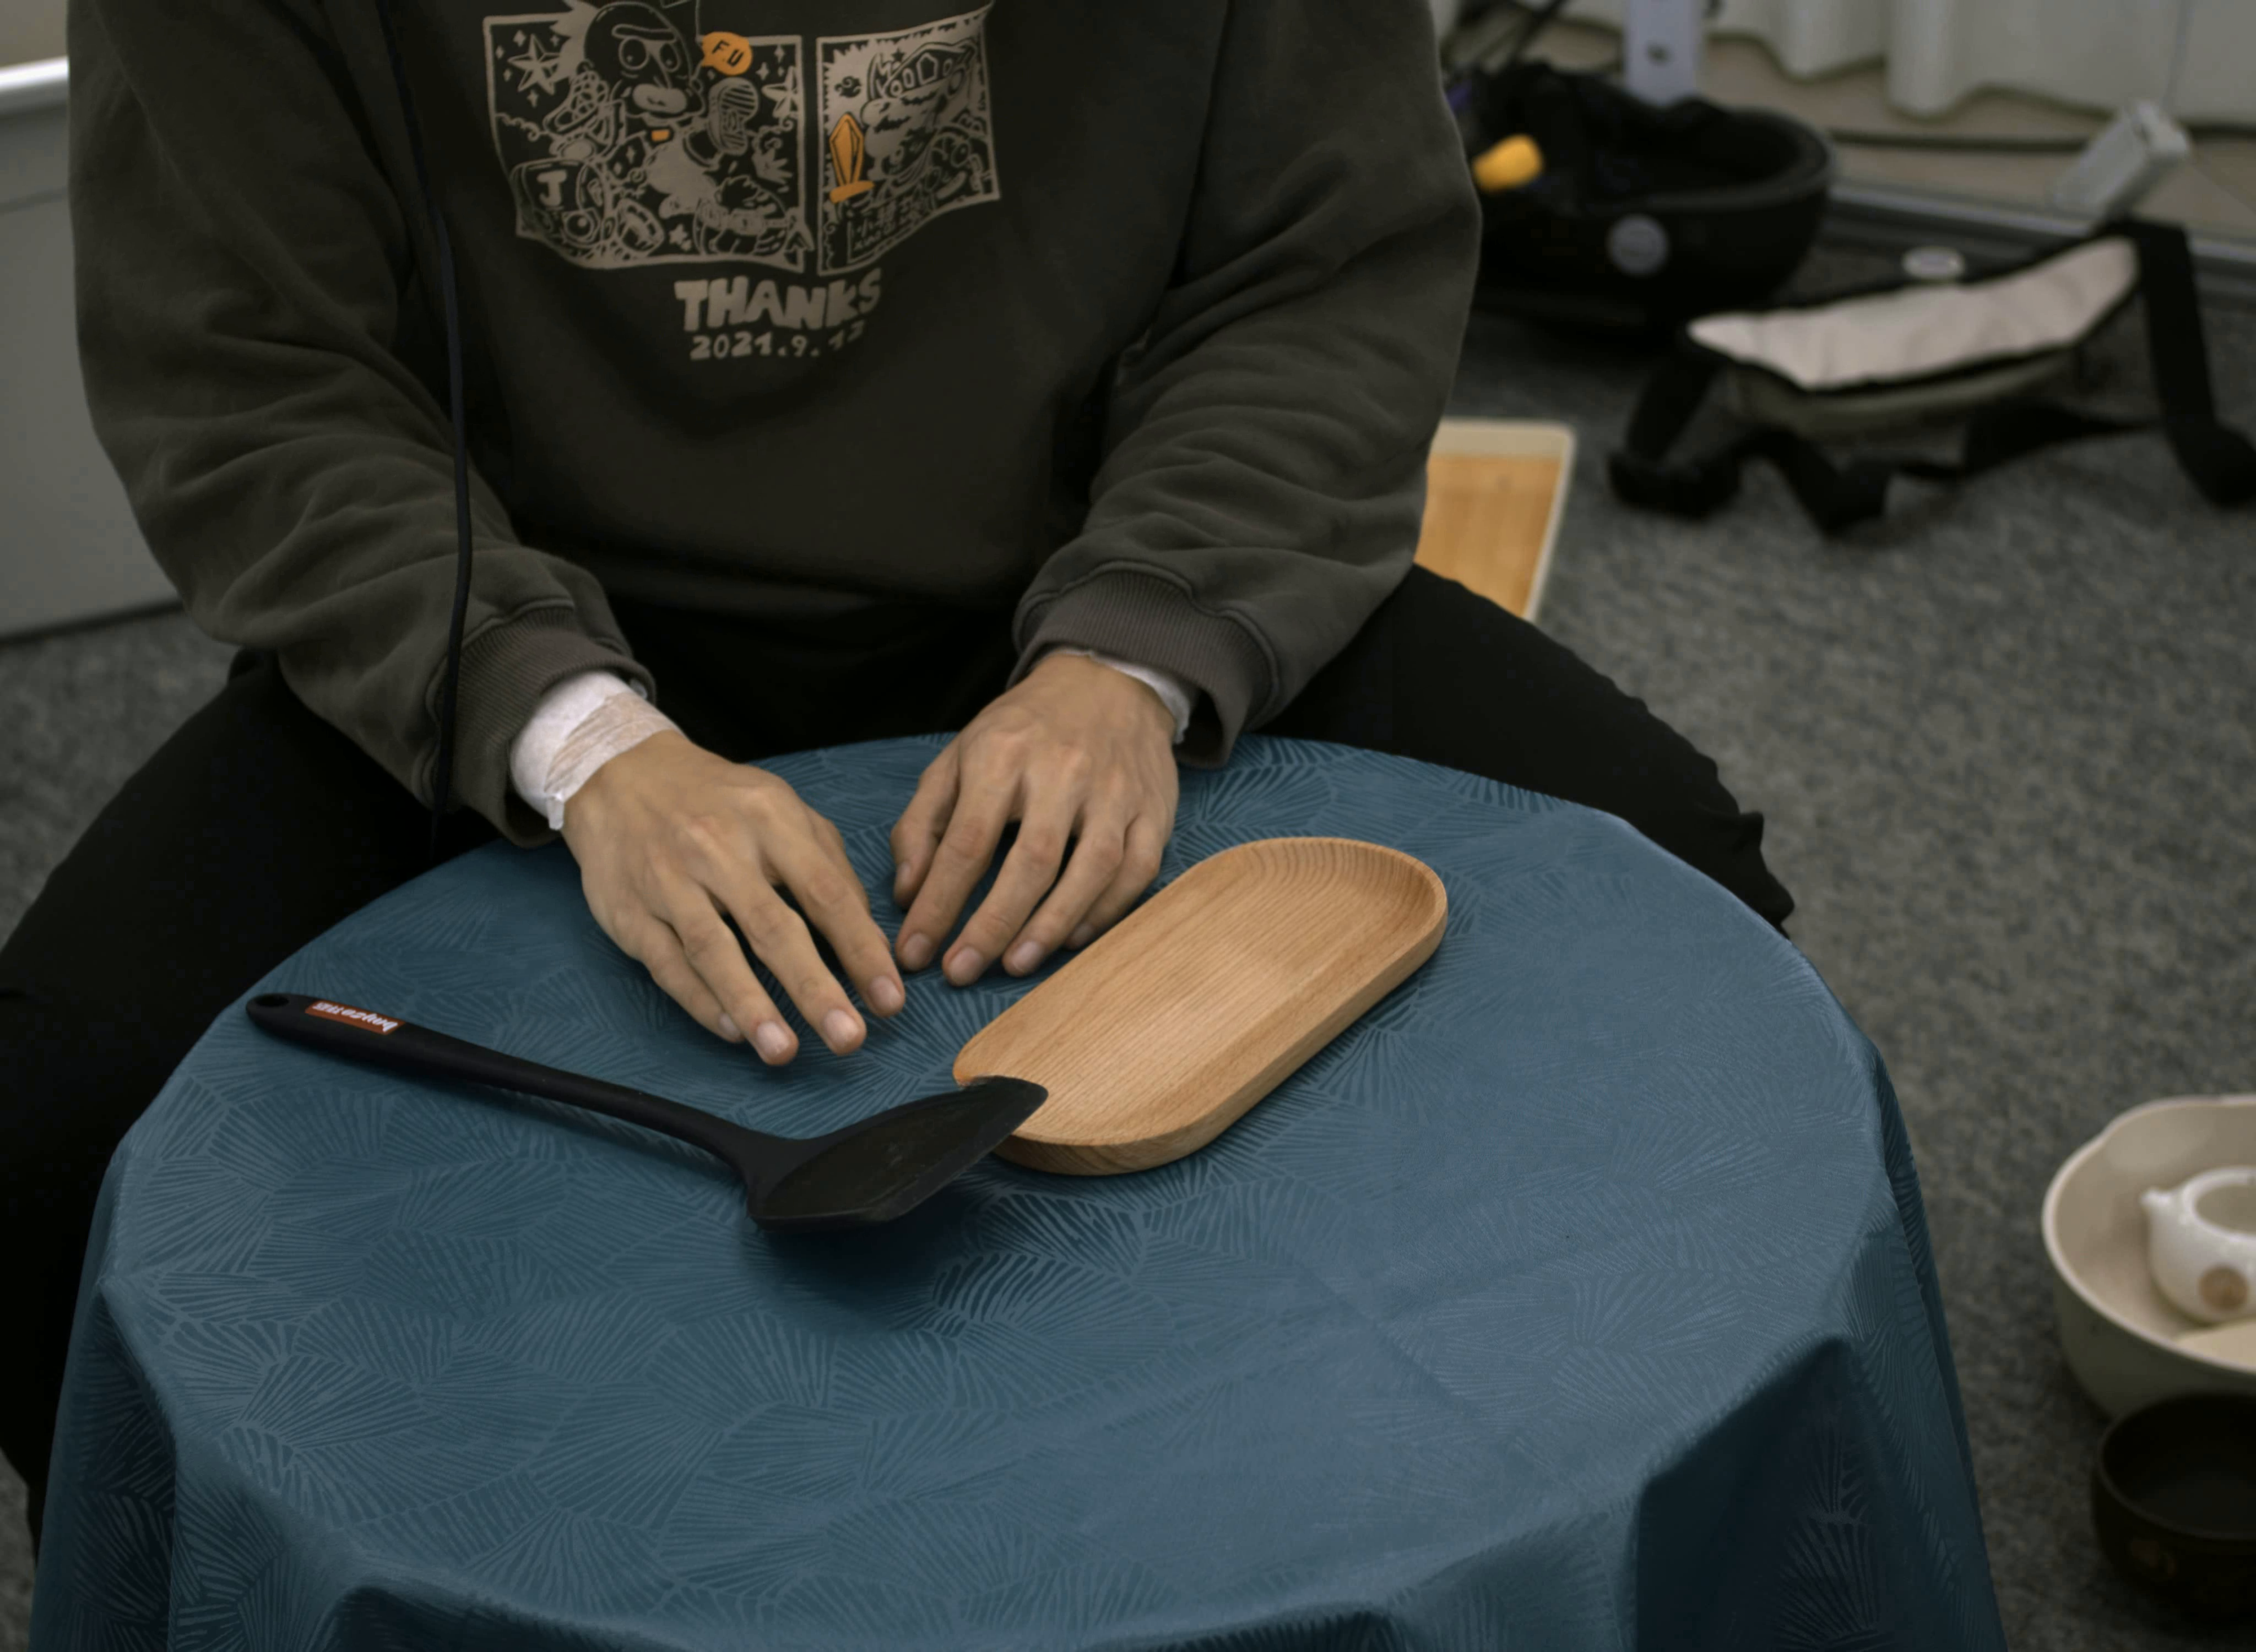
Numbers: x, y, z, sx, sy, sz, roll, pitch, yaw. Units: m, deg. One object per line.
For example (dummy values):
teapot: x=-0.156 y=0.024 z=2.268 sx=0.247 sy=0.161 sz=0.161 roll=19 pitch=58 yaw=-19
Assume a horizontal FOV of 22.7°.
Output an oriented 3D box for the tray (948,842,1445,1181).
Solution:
tray: x=0.026 y=0.063 z=1.953 sx=0.101 sy=0.020 sz=0.235 roll=14 pitch=33 yaw=30

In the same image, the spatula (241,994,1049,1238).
spatula: x=-0.179 y=0.088 z=1.904 sx=0.324 sy=0.040 sz=0.101 roll=15 pitch=31 yaw=31
